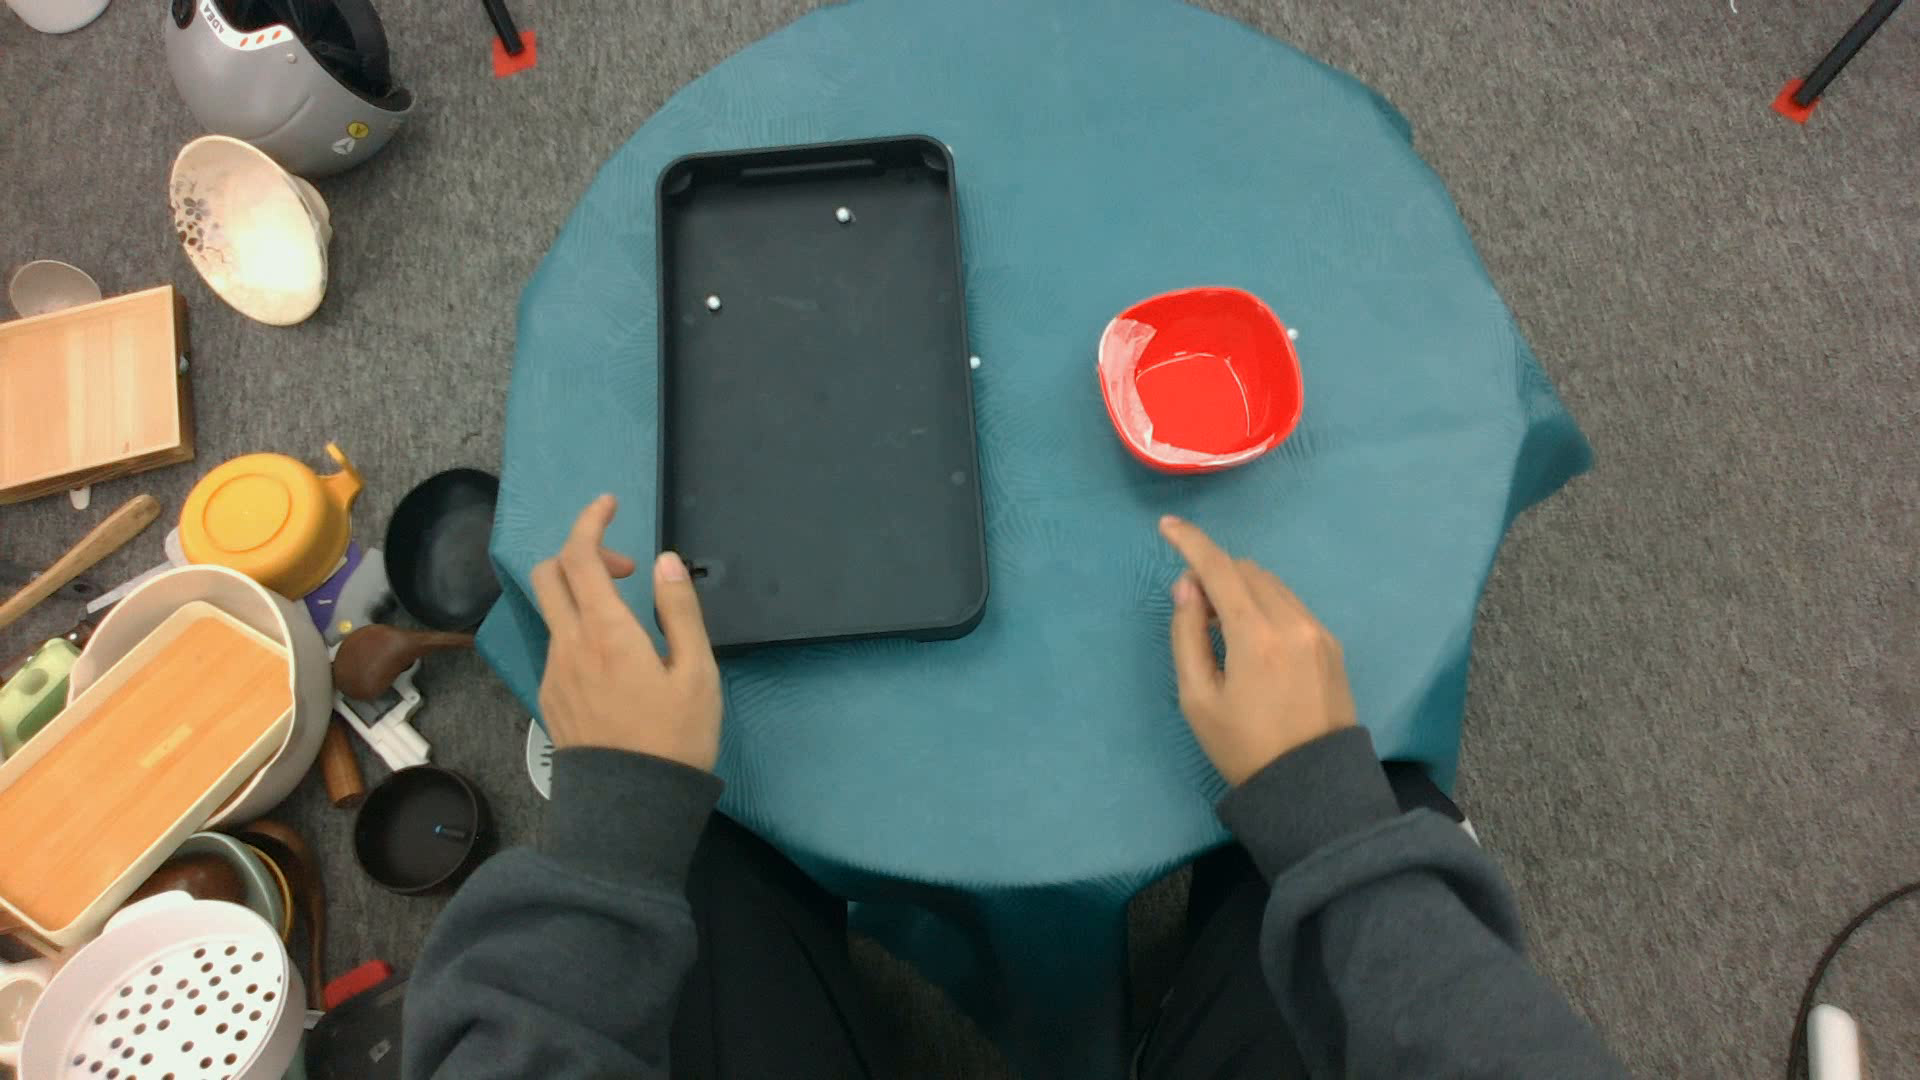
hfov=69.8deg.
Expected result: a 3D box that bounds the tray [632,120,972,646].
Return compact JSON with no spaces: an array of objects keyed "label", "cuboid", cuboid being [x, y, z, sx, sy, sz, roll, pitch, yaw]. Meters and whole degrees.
[{"label":"tray","cuboid":[-0.096,-0.098,0.802,0.184,0.037,0.319,-5,69,0]}]

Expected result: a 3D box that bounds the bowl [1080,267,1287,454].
[{"label":"bowl","cuboid":[0.125,-0.094,0.785,0.119,0.051,0.119,-1,68,2]}]
